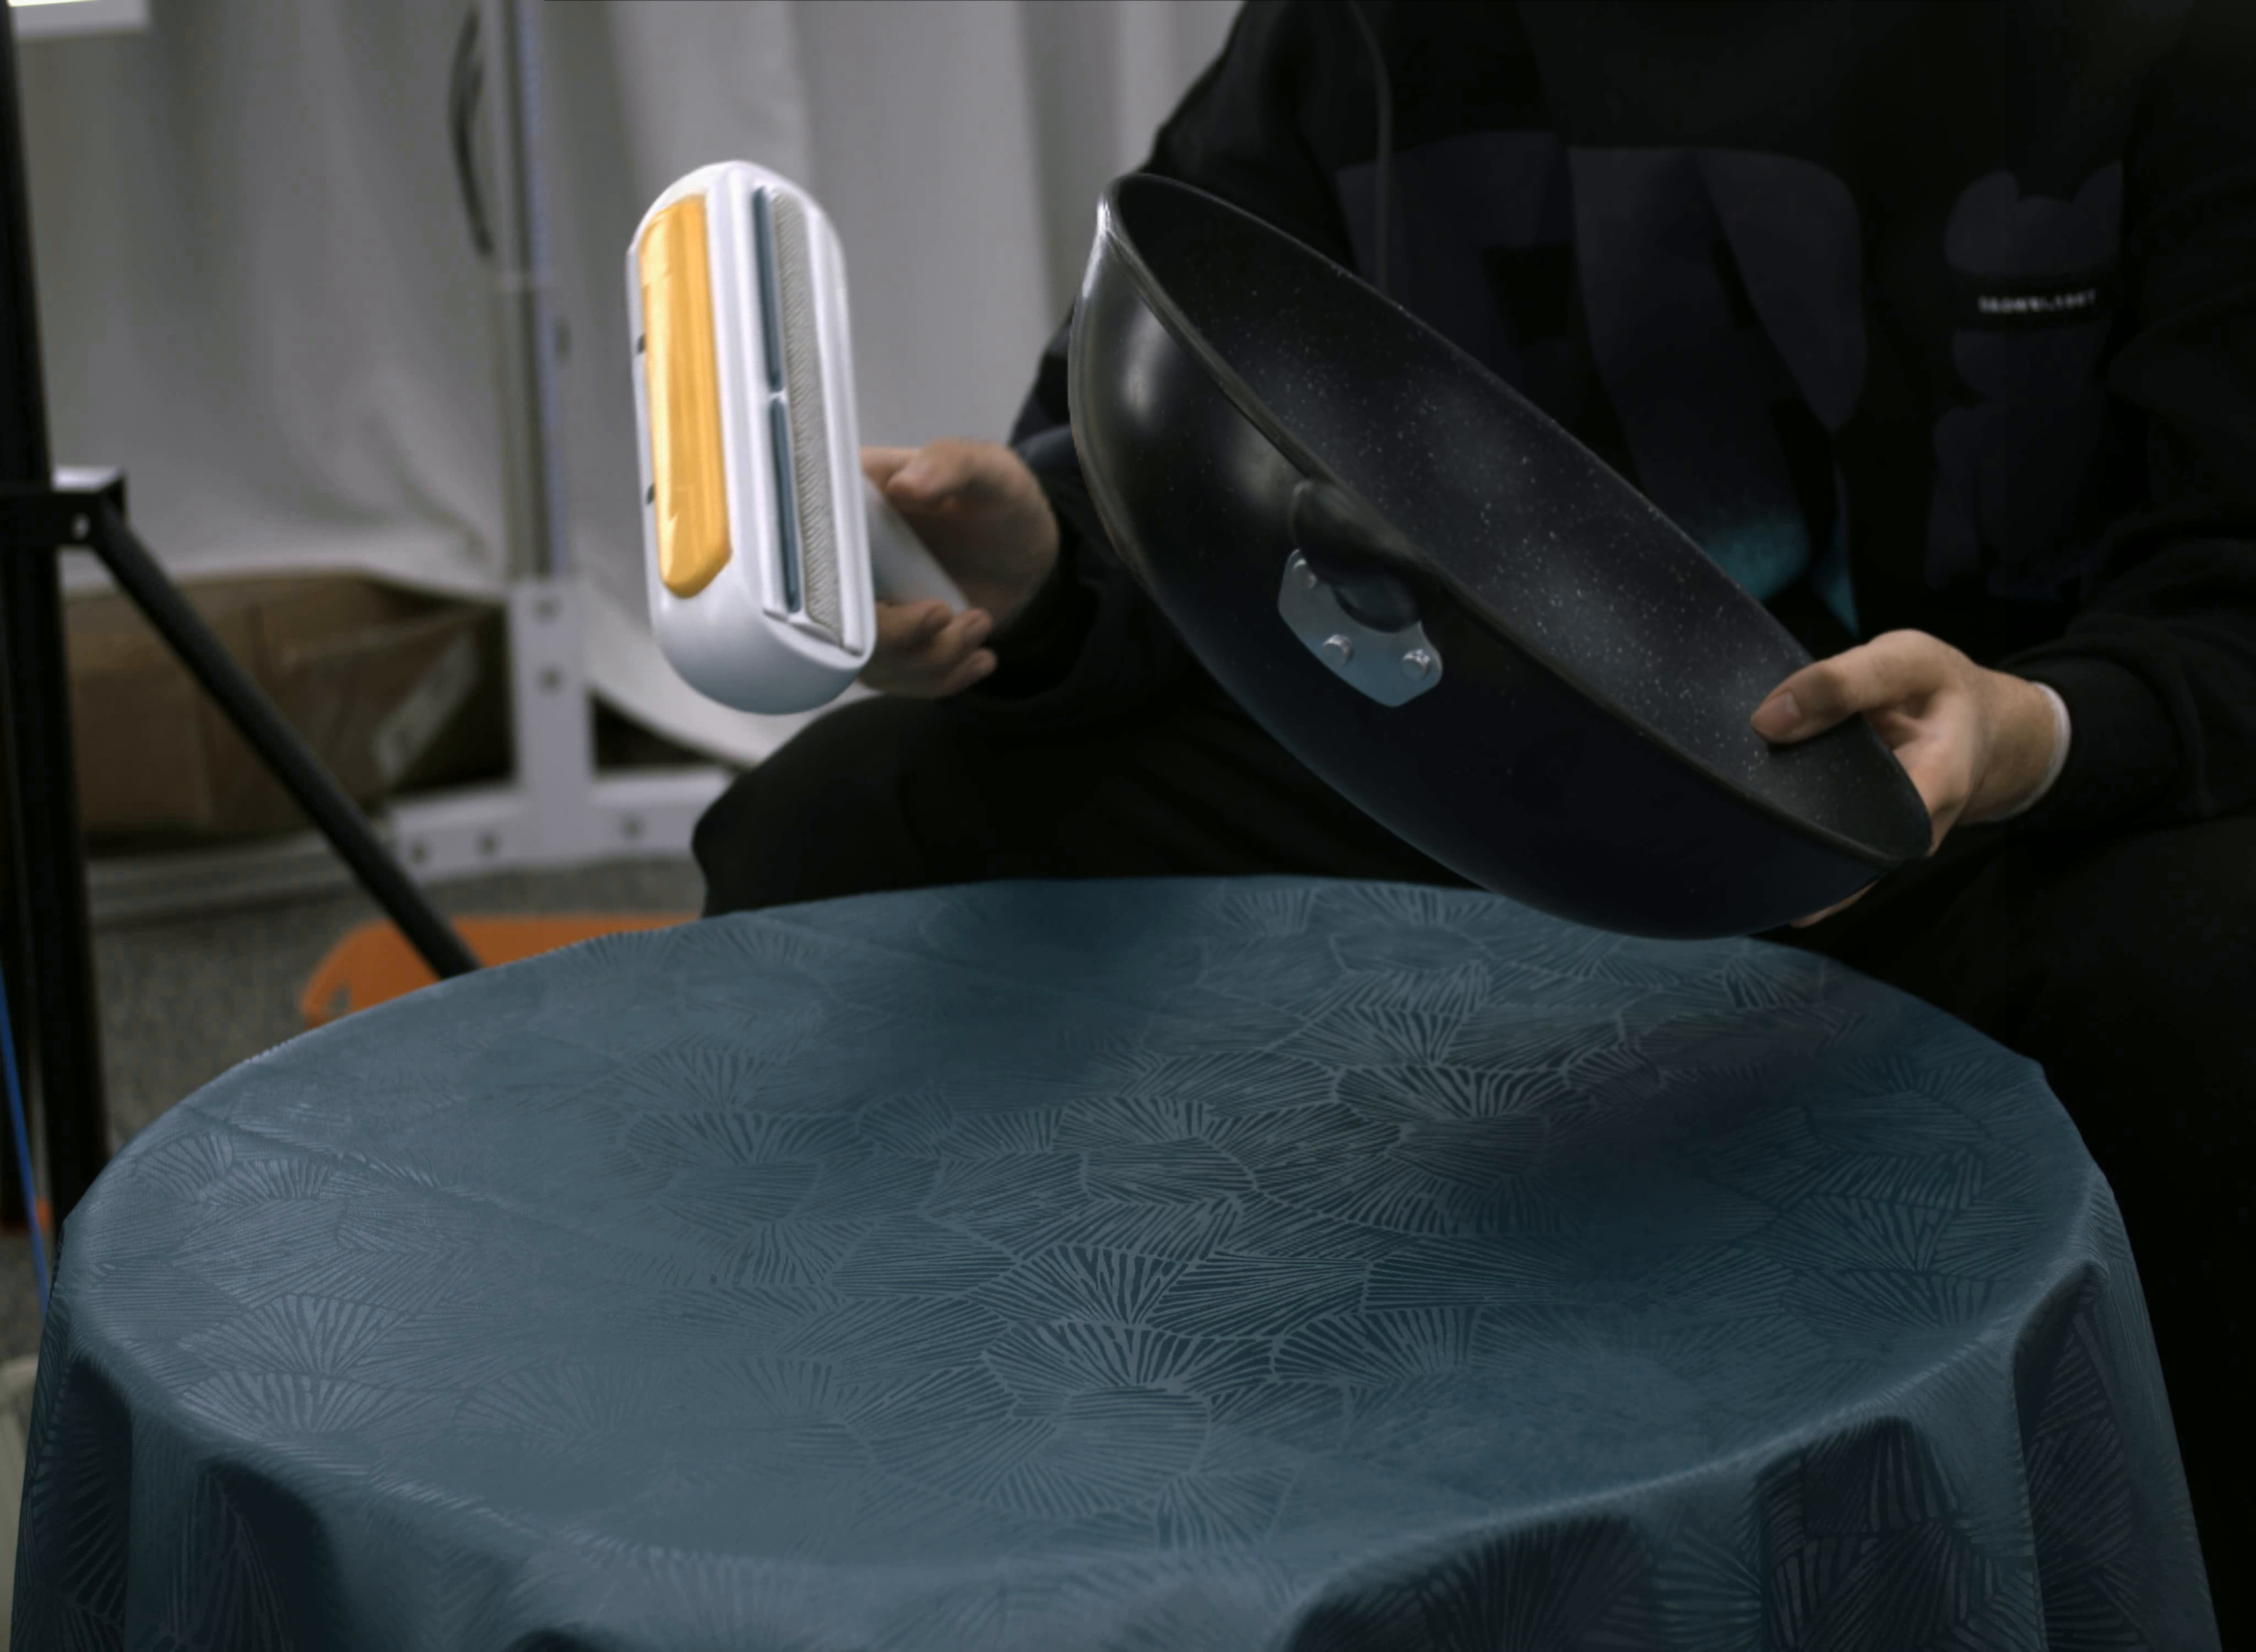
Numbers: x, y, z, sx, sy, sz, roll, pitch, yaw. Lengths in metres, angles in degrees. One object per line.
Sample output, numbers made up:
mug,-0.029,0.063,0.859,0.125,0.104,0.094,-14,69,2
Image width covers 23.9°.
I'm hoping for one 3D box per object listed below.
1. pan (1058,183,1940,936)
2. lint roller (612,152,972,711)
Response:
pan,0.077,-0.060,1.478,0.312,0.112,0.471,39,15,8
lint roller,-0.097,-0.100,1.746,0.075,0.187,0.195,-28,50,24
